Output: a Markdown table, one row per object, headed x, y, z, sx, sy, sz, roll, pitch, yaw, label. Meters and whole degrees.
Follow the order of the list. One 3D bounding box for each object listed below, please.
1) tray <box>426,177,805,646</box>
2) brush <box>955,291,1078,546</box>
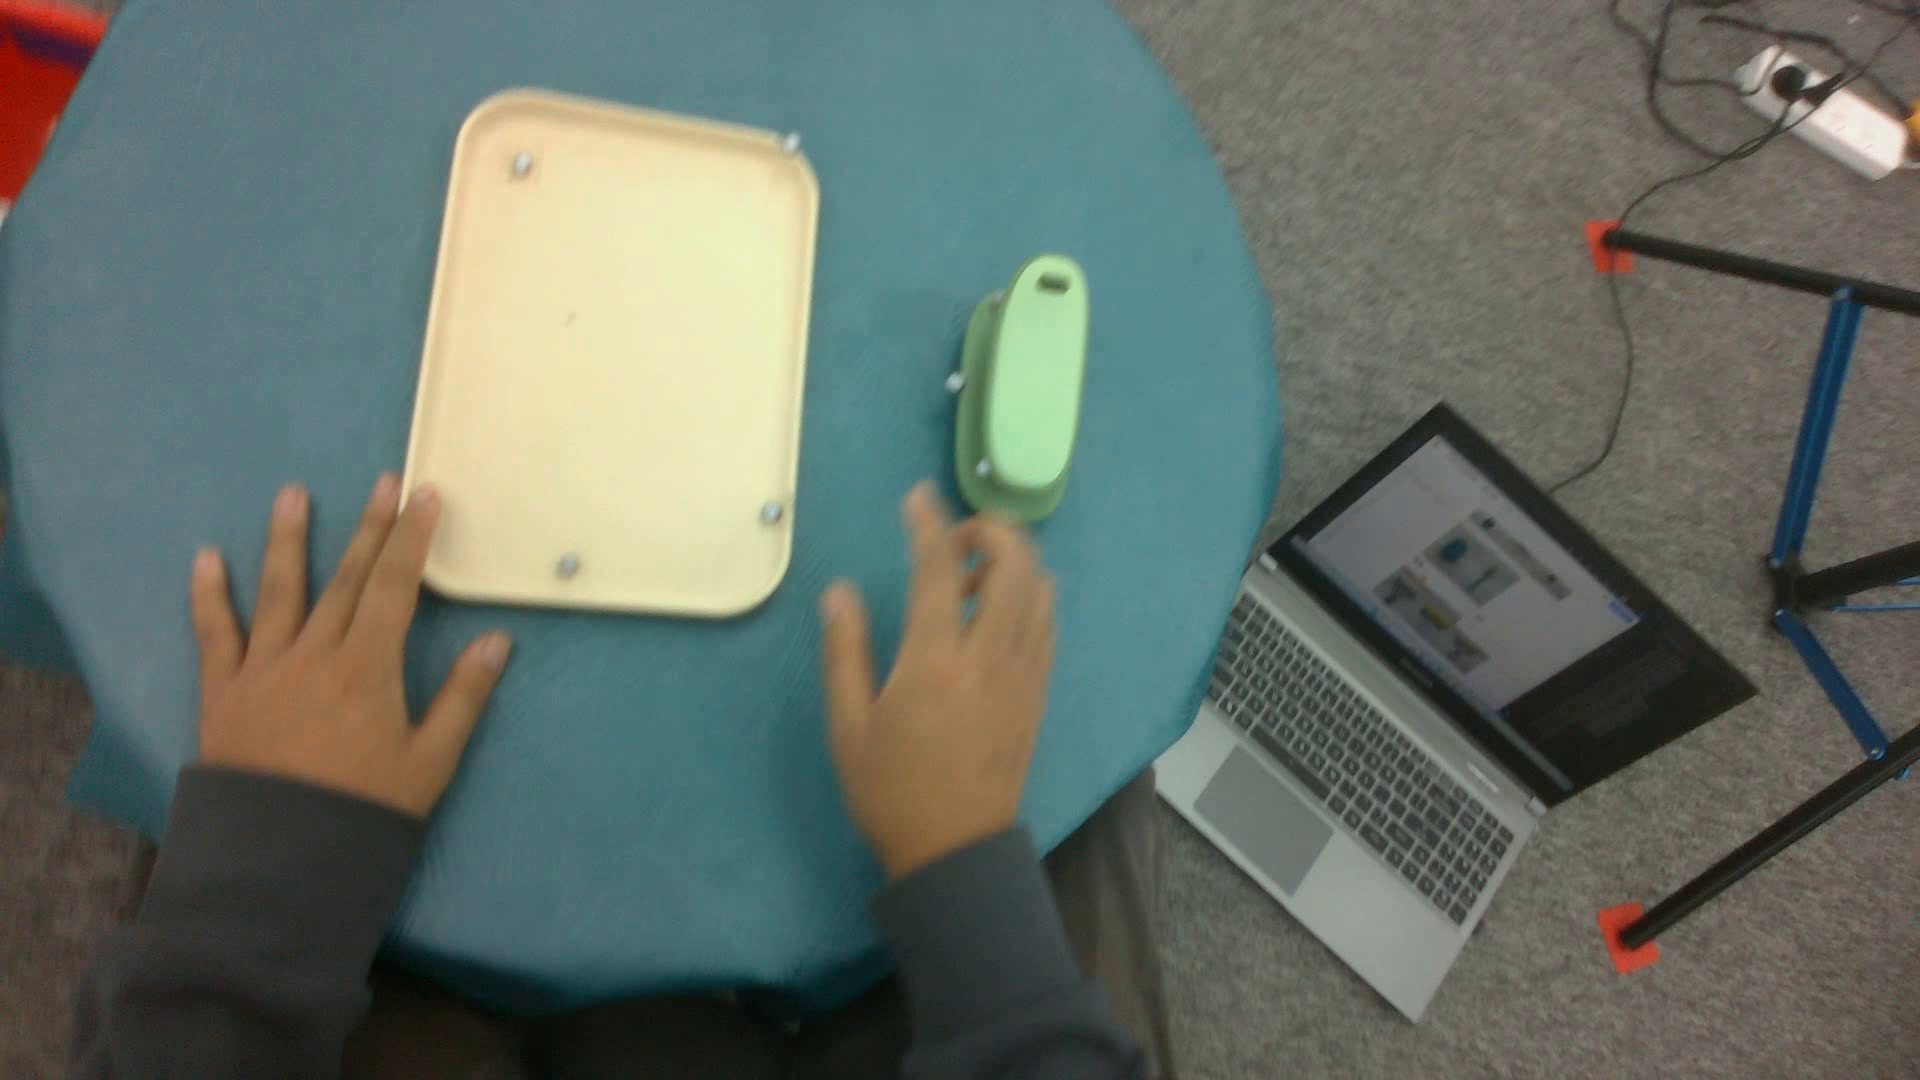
| x | y | z | sx | sy | sz | roll | pitch | yaw | label |
| --- | --- | --- | --- | --- | --- | --- | --- | --- | --- |
| -0.162 | -0.064 | 0.671 | 0.171 | 0.017 | 0.240 | 3 | 72 | -12 | tray |
| 0.028 | -0.058 | 0.695 | 0.059 | 0.075 | 0.123 | 3 | 85 | -11 | brush |
